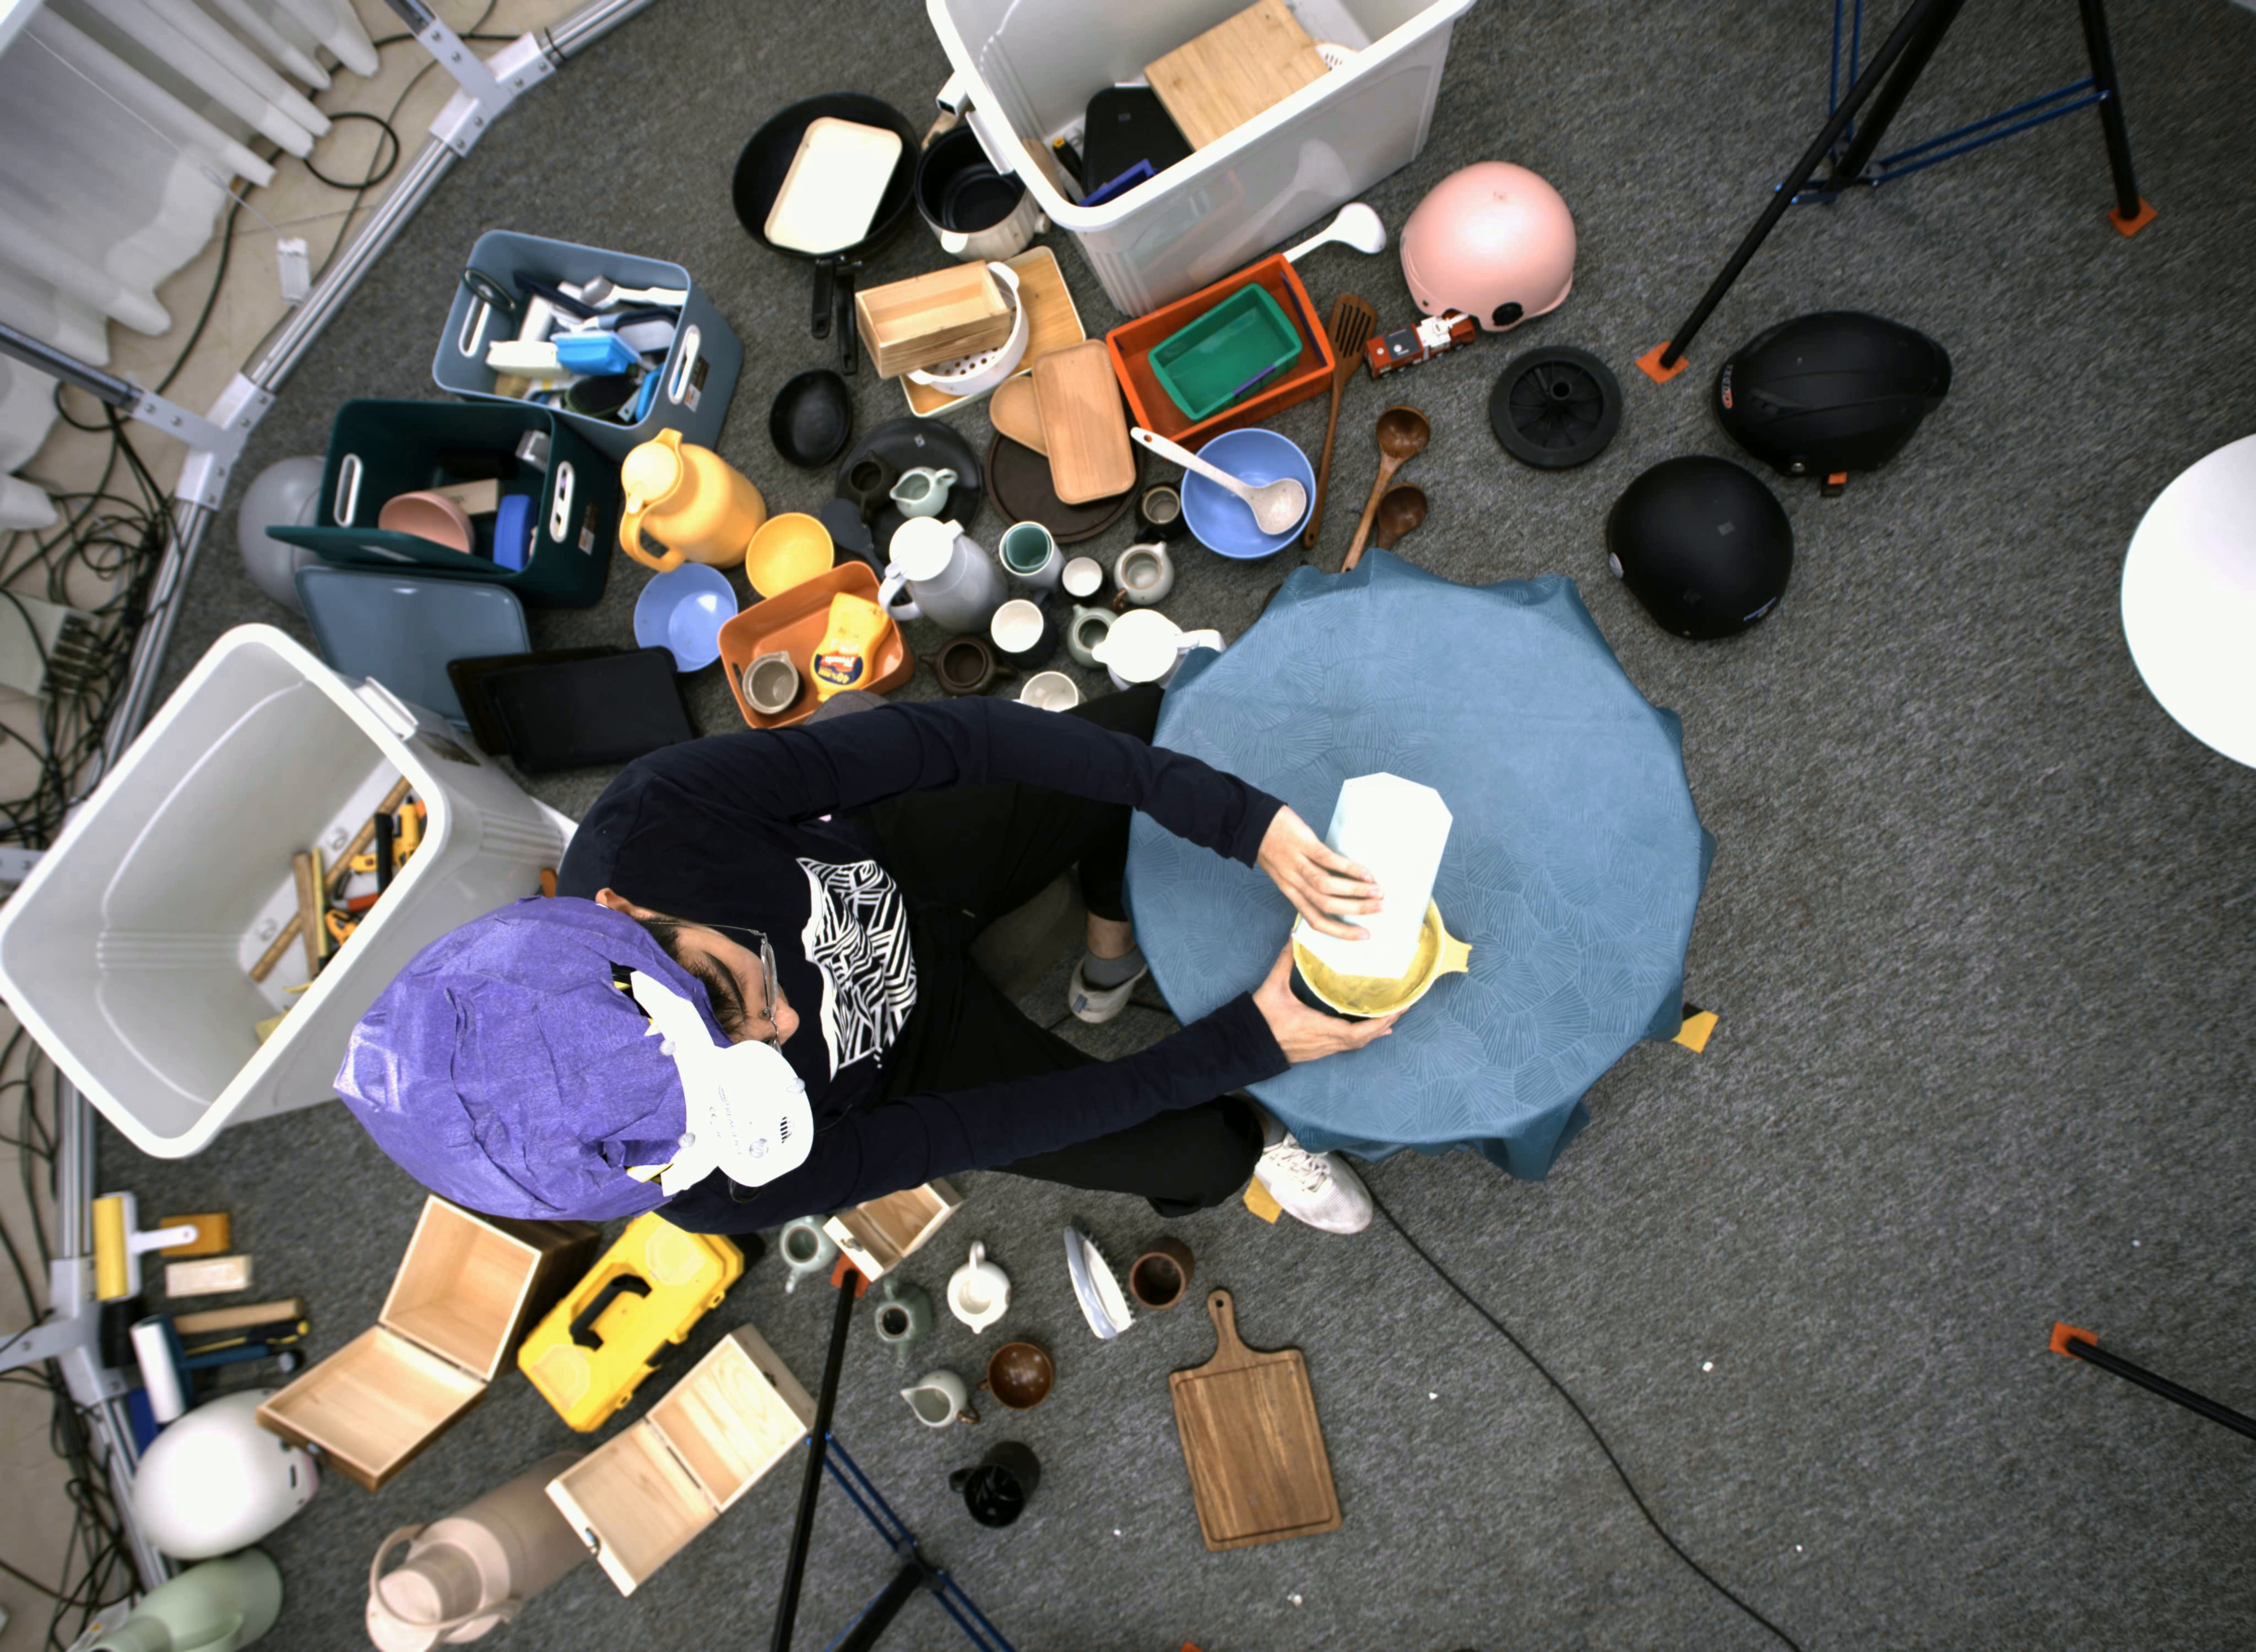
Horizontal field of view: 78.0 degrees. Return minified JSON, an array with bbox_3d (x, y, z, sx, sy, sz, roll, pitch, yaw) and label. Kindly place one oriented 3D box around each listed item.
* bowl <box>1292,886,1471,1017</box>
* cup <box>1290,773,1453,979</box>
[{"bbox_3d":[0.261,0.120,1.425,0.180,0.074,0.152,6,87,13],"label":"bowl"},{"bbox_3d":[0.235,0.043,1.306,0.115,0.128,0.166,23,122,17],"label":"cup"}]
